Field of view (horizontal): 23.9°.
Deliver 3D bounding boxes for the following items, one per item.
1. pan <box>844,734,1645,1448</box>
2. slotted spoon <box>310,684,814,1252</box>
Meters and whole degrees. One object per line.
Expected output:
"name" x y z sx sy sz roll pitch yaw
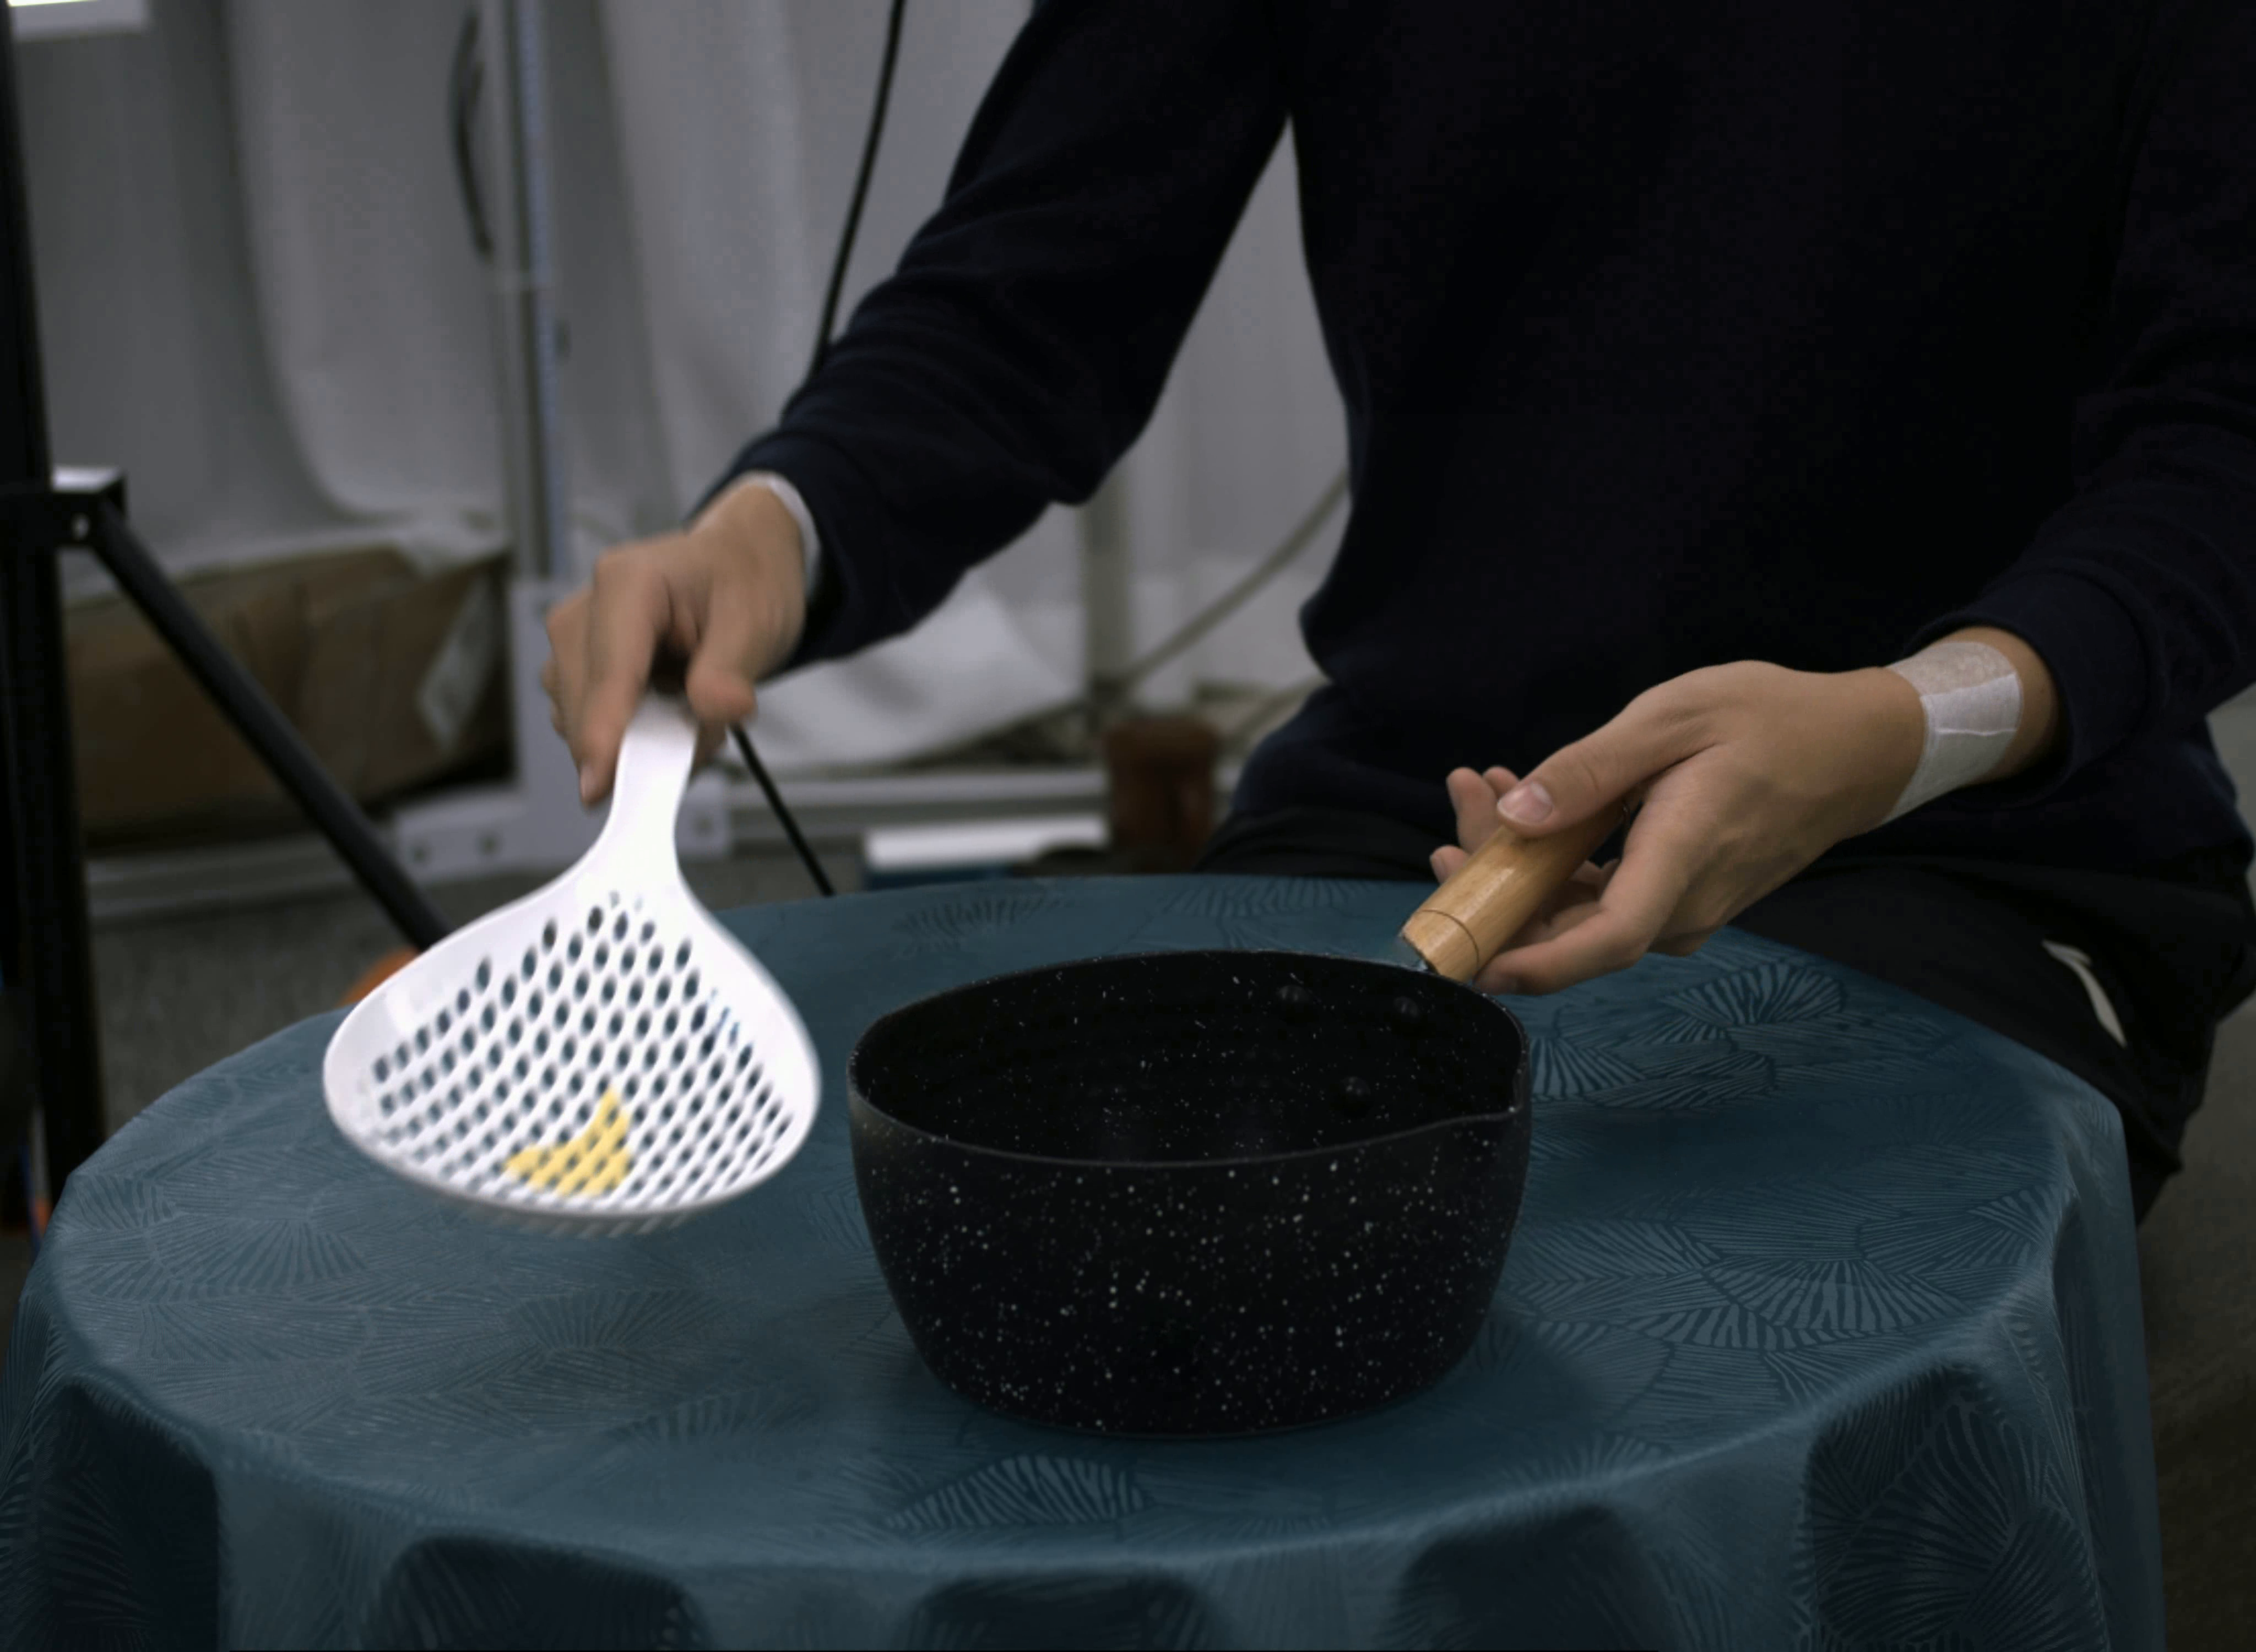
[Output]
"pan" 0.058 0.069 1.489 0.211 0.108 0.336 6 19 32
"slotted spoon" -0.150 0.029 1.547 0.136 0.050 0.350 5 32 0
